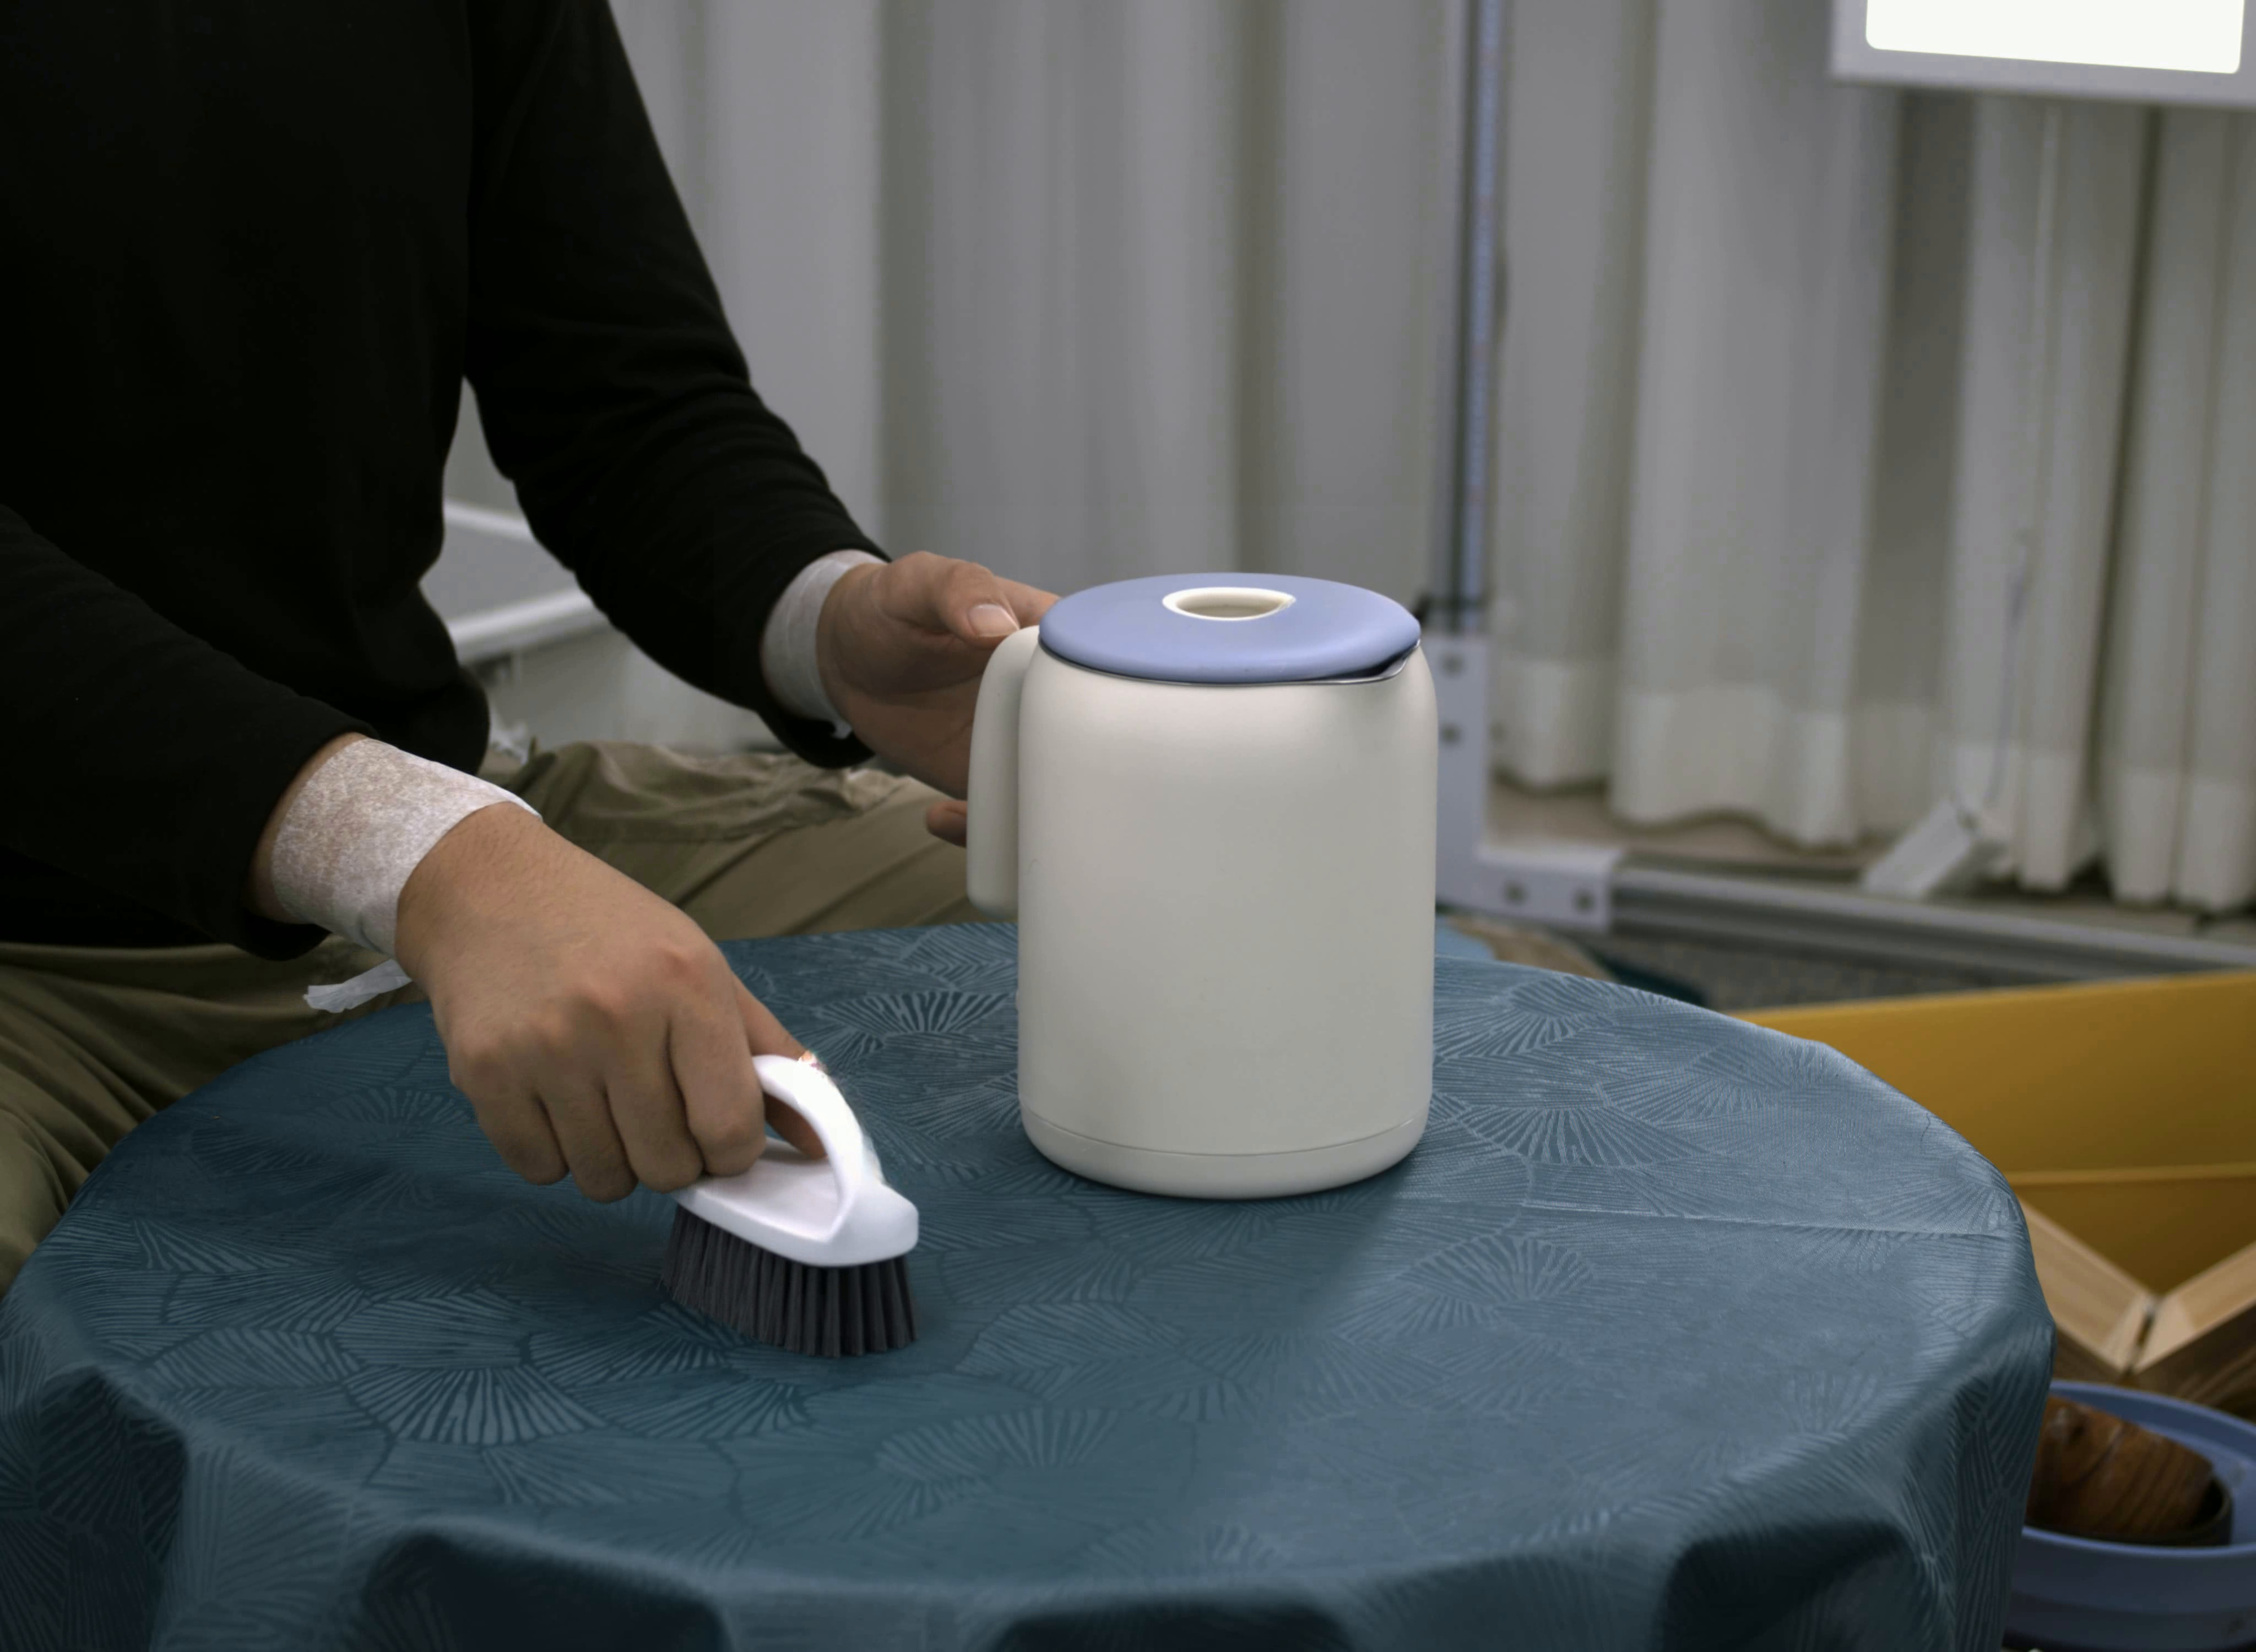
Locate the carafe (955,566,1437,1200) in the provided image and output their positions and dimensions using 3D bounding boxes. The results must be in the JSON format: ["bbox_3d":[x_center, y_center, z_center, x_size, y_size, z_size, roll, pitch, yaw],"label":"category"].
[{"bbox_3d":[0.014,0.012,1.661,0.133,0.184,0.188,-15,20,-42],"label":"carafe"}]

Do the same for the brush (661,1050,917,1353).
[{"bbox_3d":[-0.099,0.103,1.514,0.050,0.073,0.098,-11,19,-33],"label":"brush"}]
